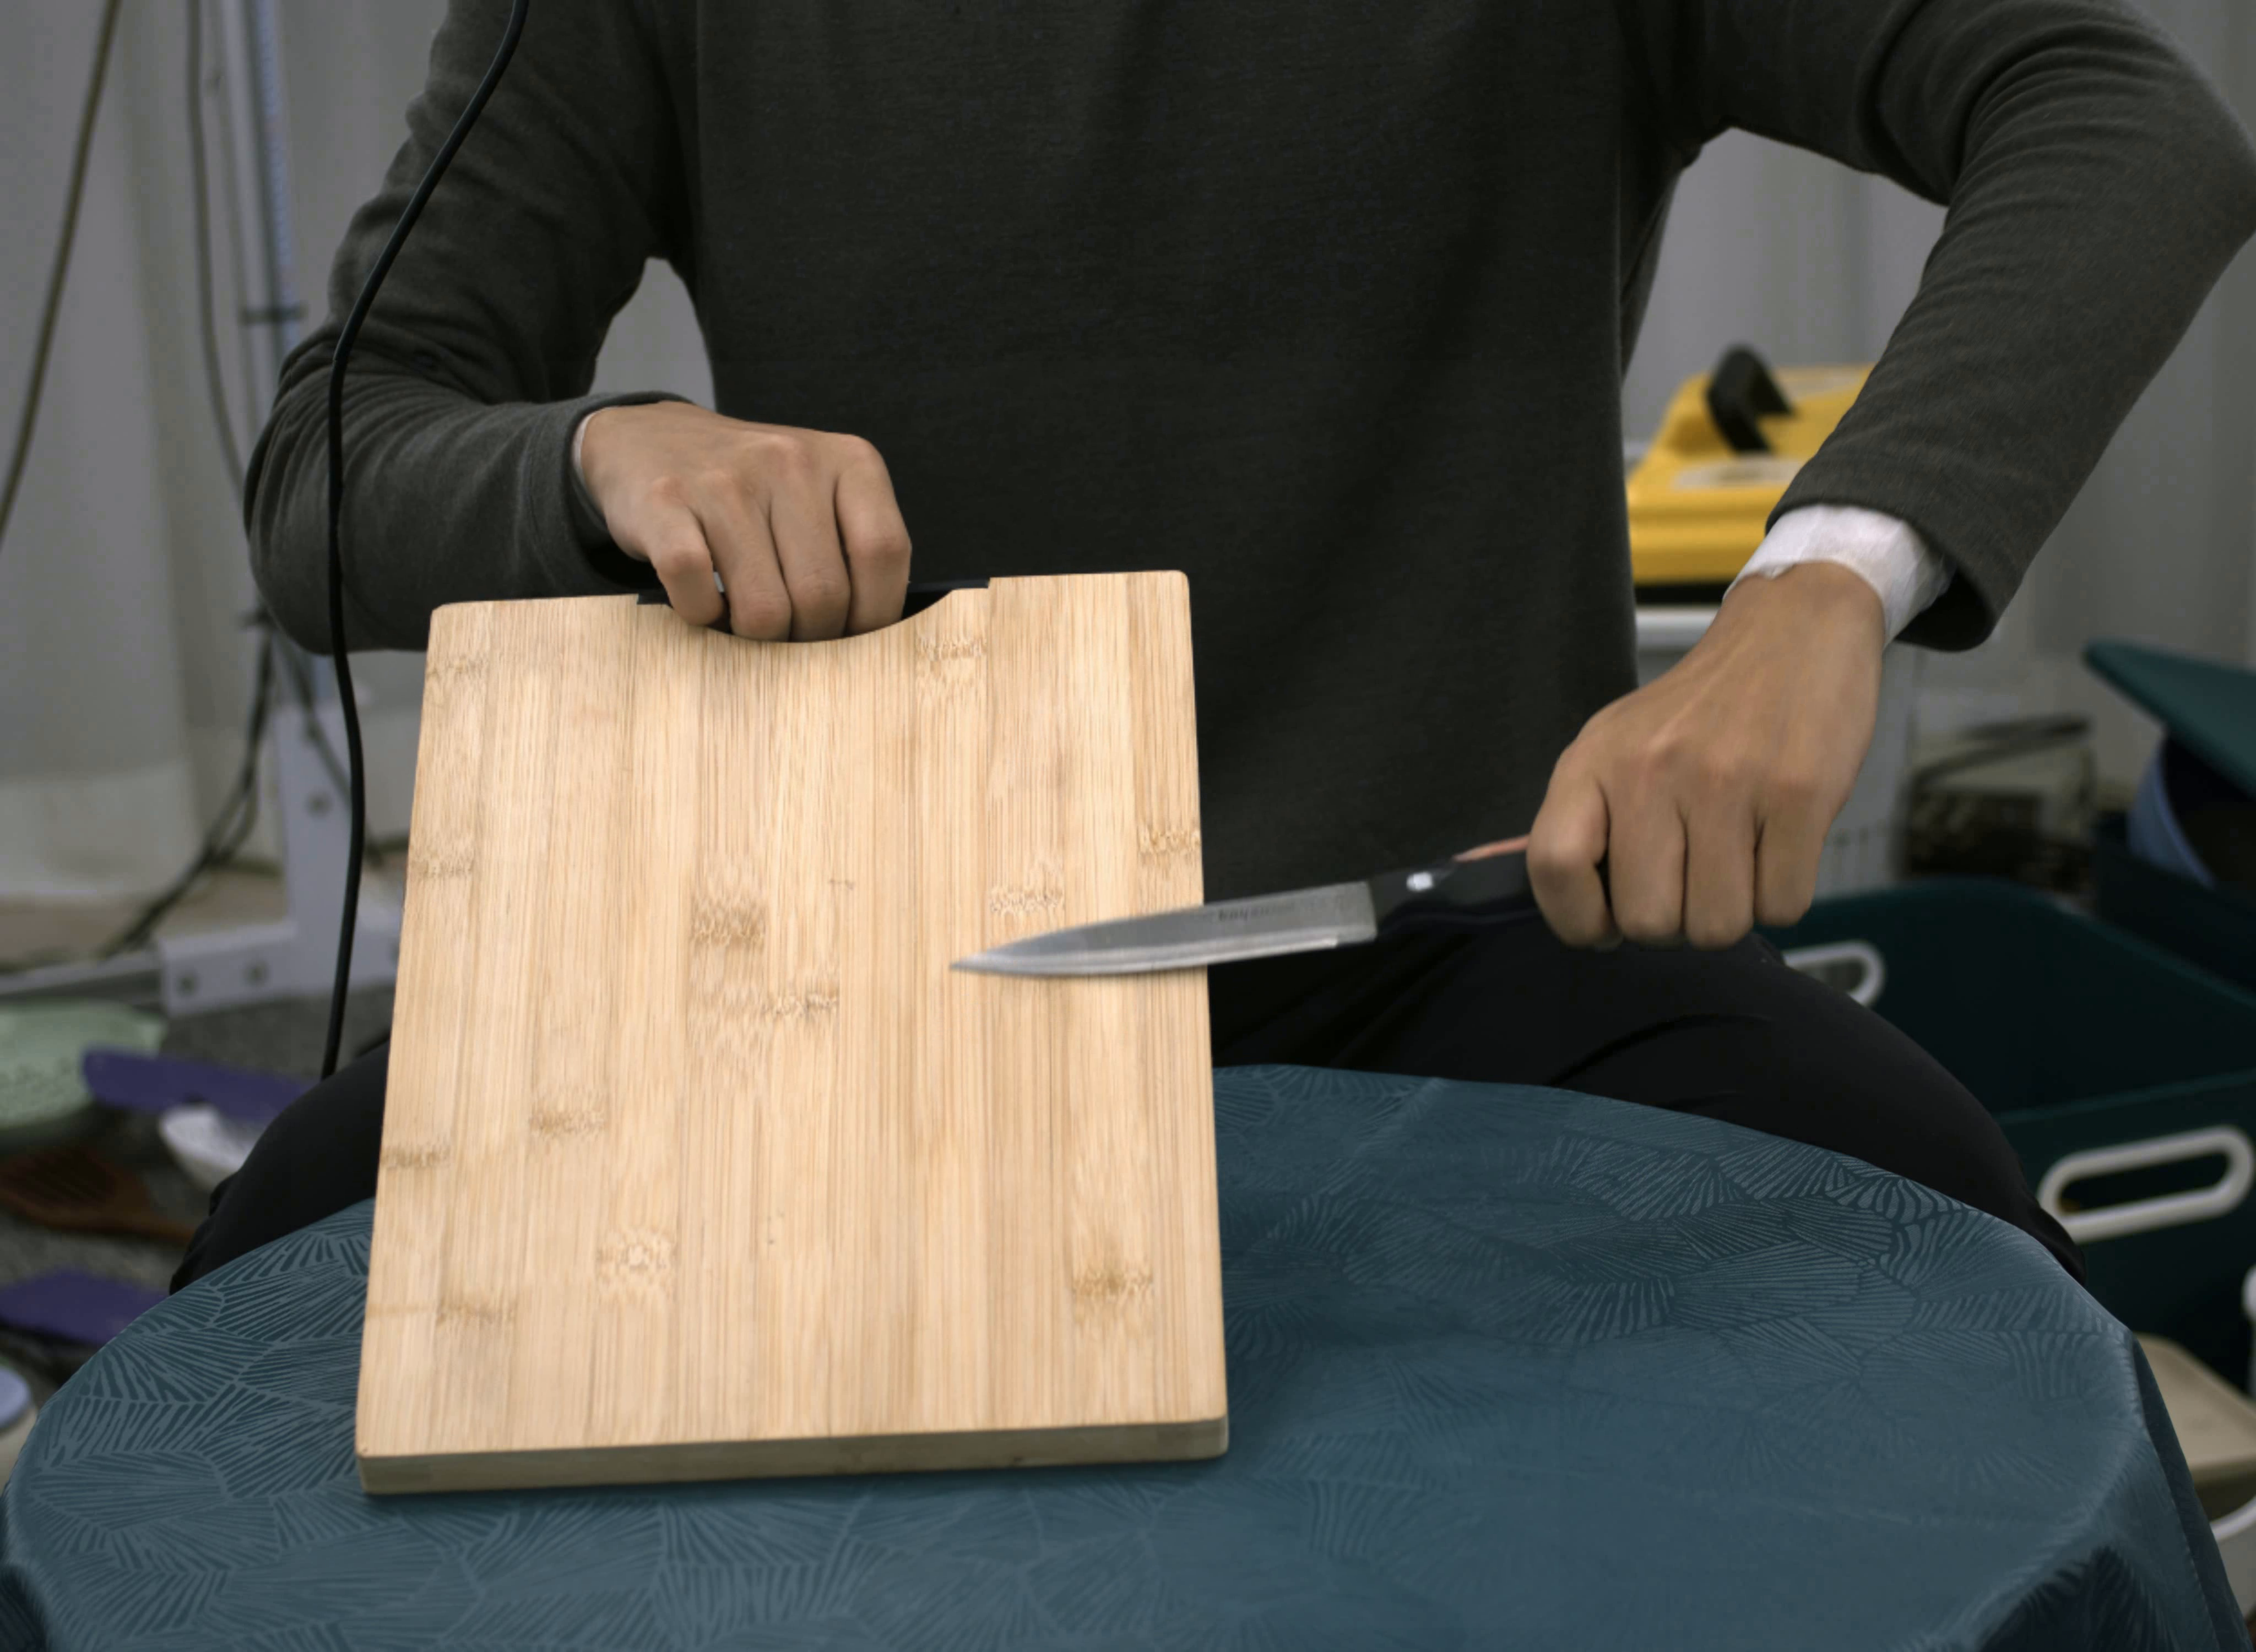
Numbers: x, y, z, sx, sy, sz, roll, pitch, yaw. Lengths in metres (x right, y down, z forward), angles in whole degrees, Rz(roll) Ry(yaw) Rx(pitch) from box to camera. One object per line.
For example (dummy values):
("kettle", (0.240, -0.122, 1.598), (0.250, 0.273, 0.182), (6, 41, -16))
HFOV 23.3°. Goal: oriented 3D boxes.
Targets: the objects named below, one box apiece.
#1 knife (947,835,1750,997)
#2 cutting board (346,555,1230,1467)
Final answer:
("knife", (0.064, 0.028, 1.604), (0.237, 0.016, 0.025), (-9, 42, -1))
("cutting board", (-0.095, 0.048, 1.615), (0.250, 0.023, 0.354), (-3, 45, 0))
